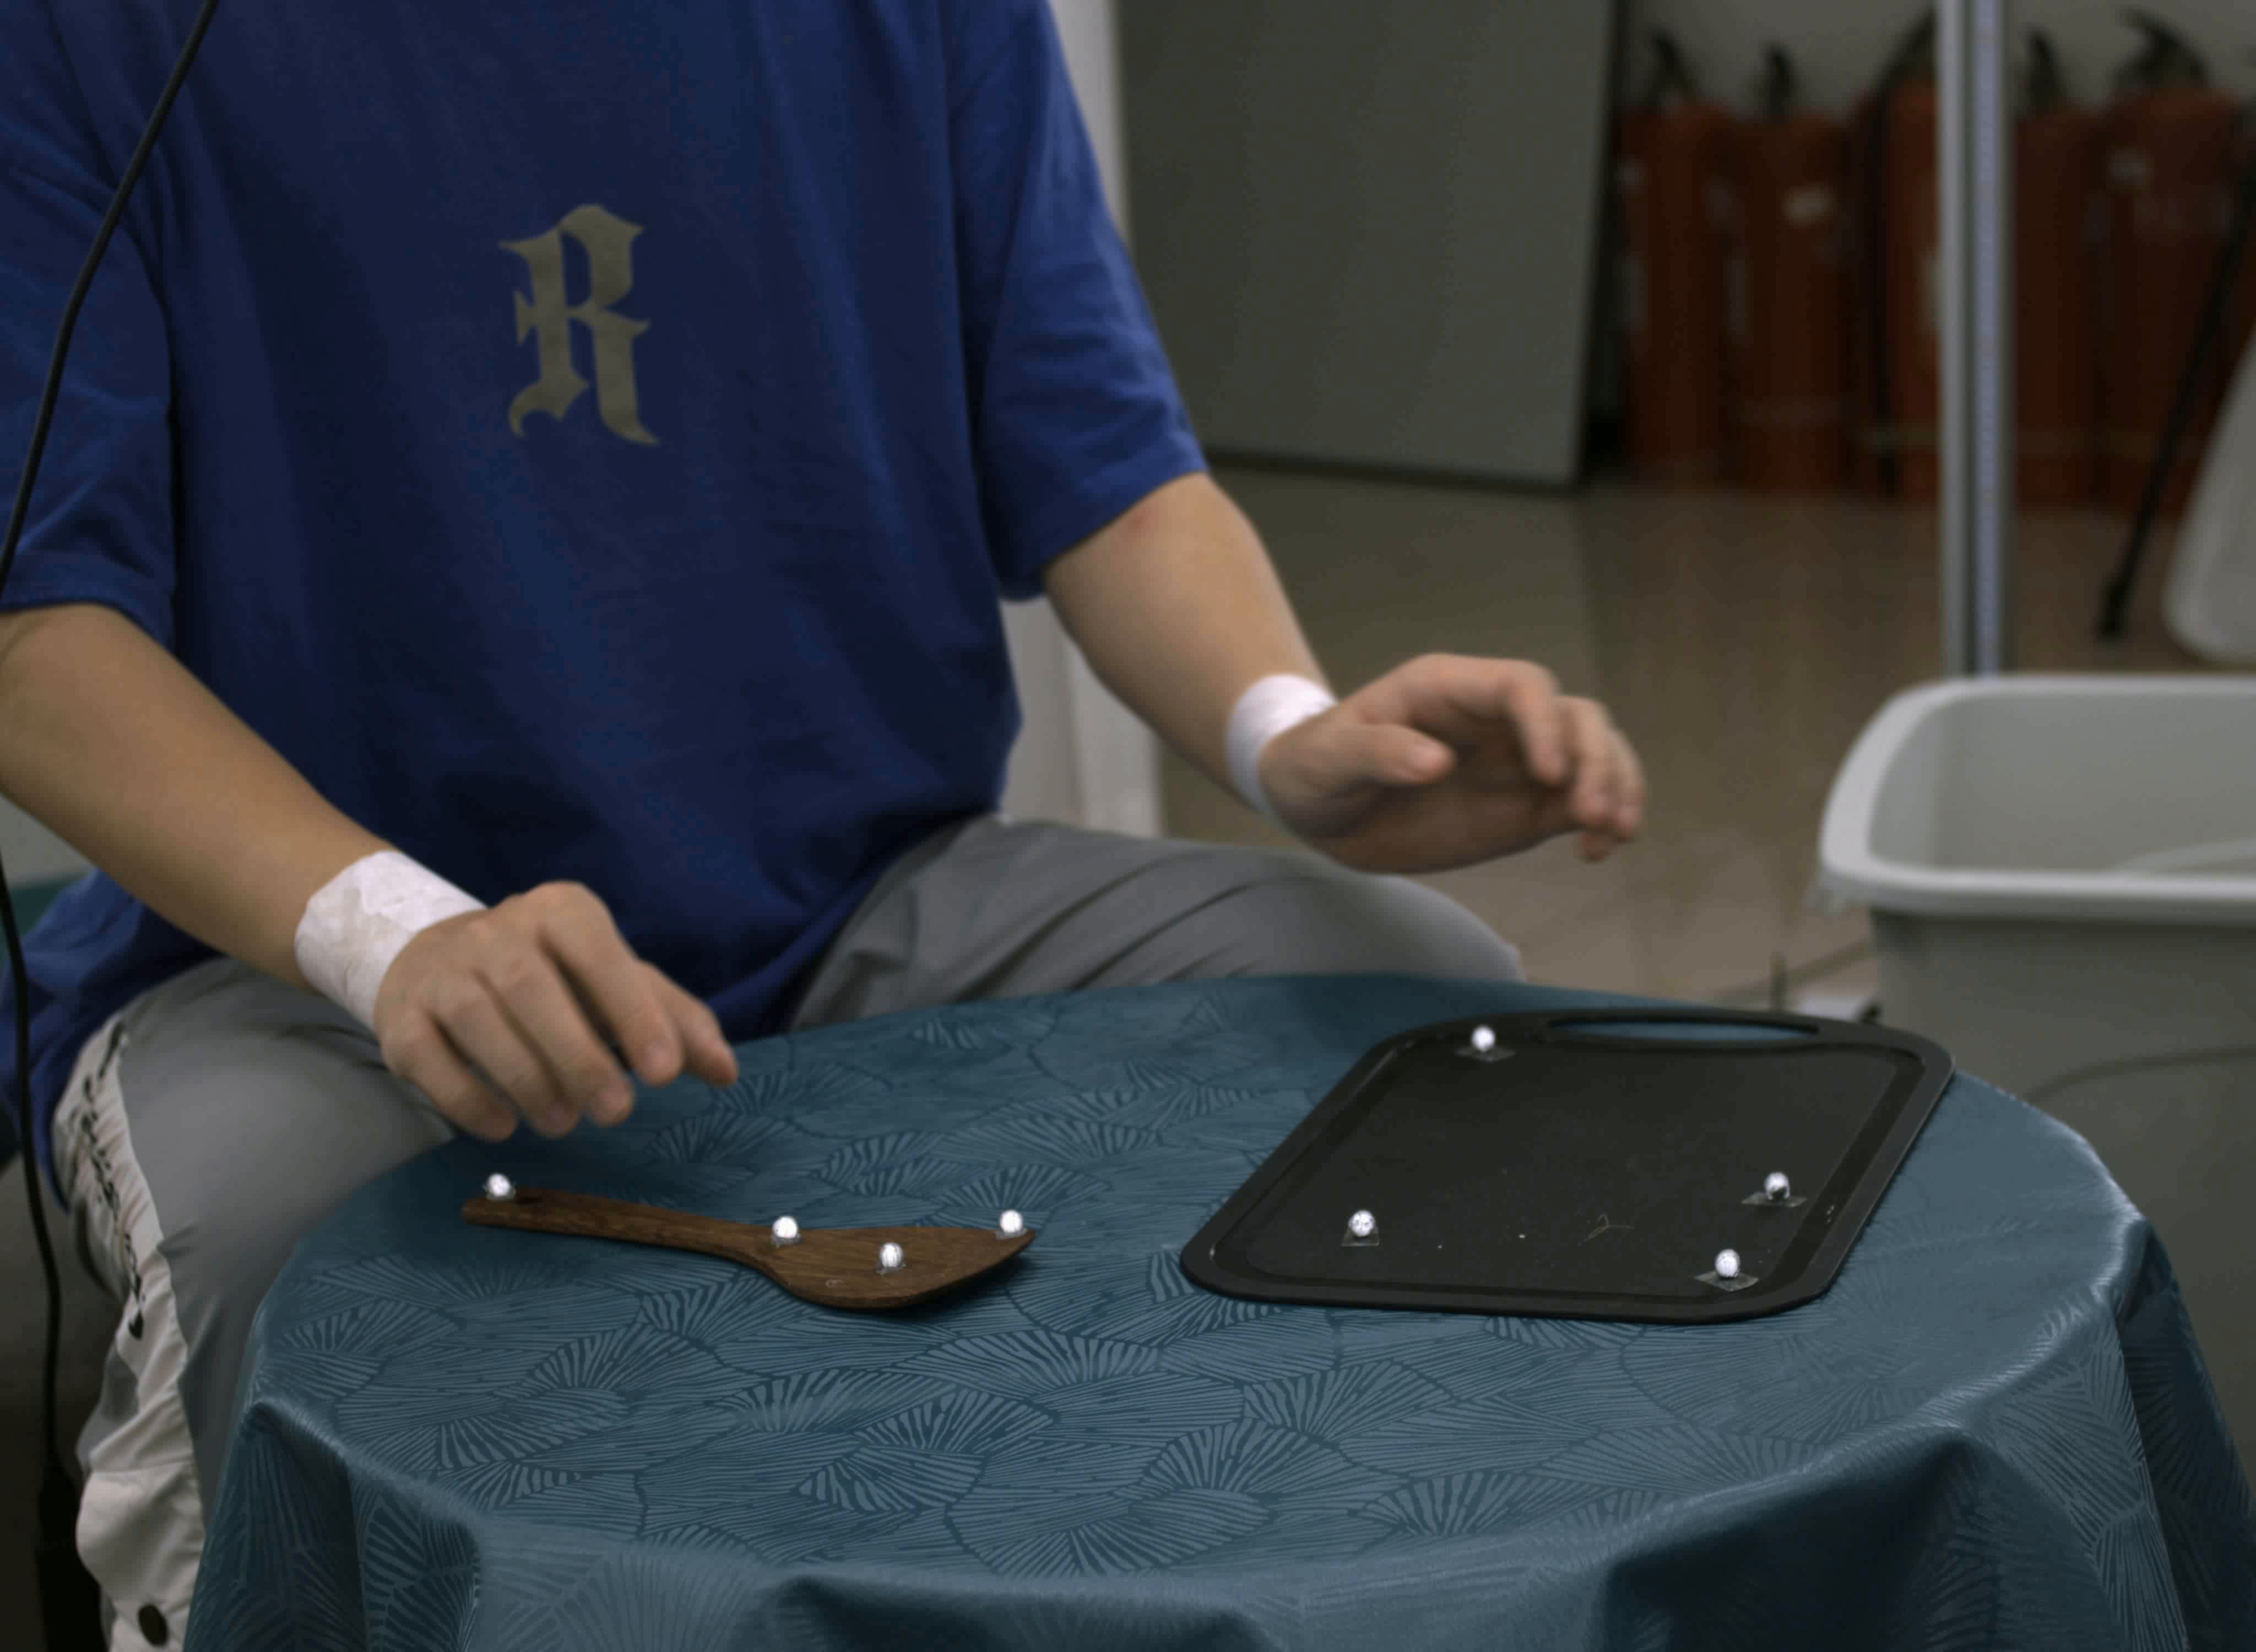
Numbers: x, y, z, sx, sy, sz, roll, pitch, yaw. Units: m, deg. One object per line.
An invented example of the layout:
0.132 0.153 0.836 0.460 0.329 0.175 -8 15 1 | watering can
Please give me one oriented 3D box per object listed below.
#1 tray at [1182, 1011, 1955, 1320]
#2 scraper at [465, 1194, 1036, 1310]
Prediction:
0.152 0.105 1.778 0.211 0.010 0.322 1 14 20 | tray
-0.128 0.134 1.739 0.212 0.011 0.074 5 15 35 | scraper
